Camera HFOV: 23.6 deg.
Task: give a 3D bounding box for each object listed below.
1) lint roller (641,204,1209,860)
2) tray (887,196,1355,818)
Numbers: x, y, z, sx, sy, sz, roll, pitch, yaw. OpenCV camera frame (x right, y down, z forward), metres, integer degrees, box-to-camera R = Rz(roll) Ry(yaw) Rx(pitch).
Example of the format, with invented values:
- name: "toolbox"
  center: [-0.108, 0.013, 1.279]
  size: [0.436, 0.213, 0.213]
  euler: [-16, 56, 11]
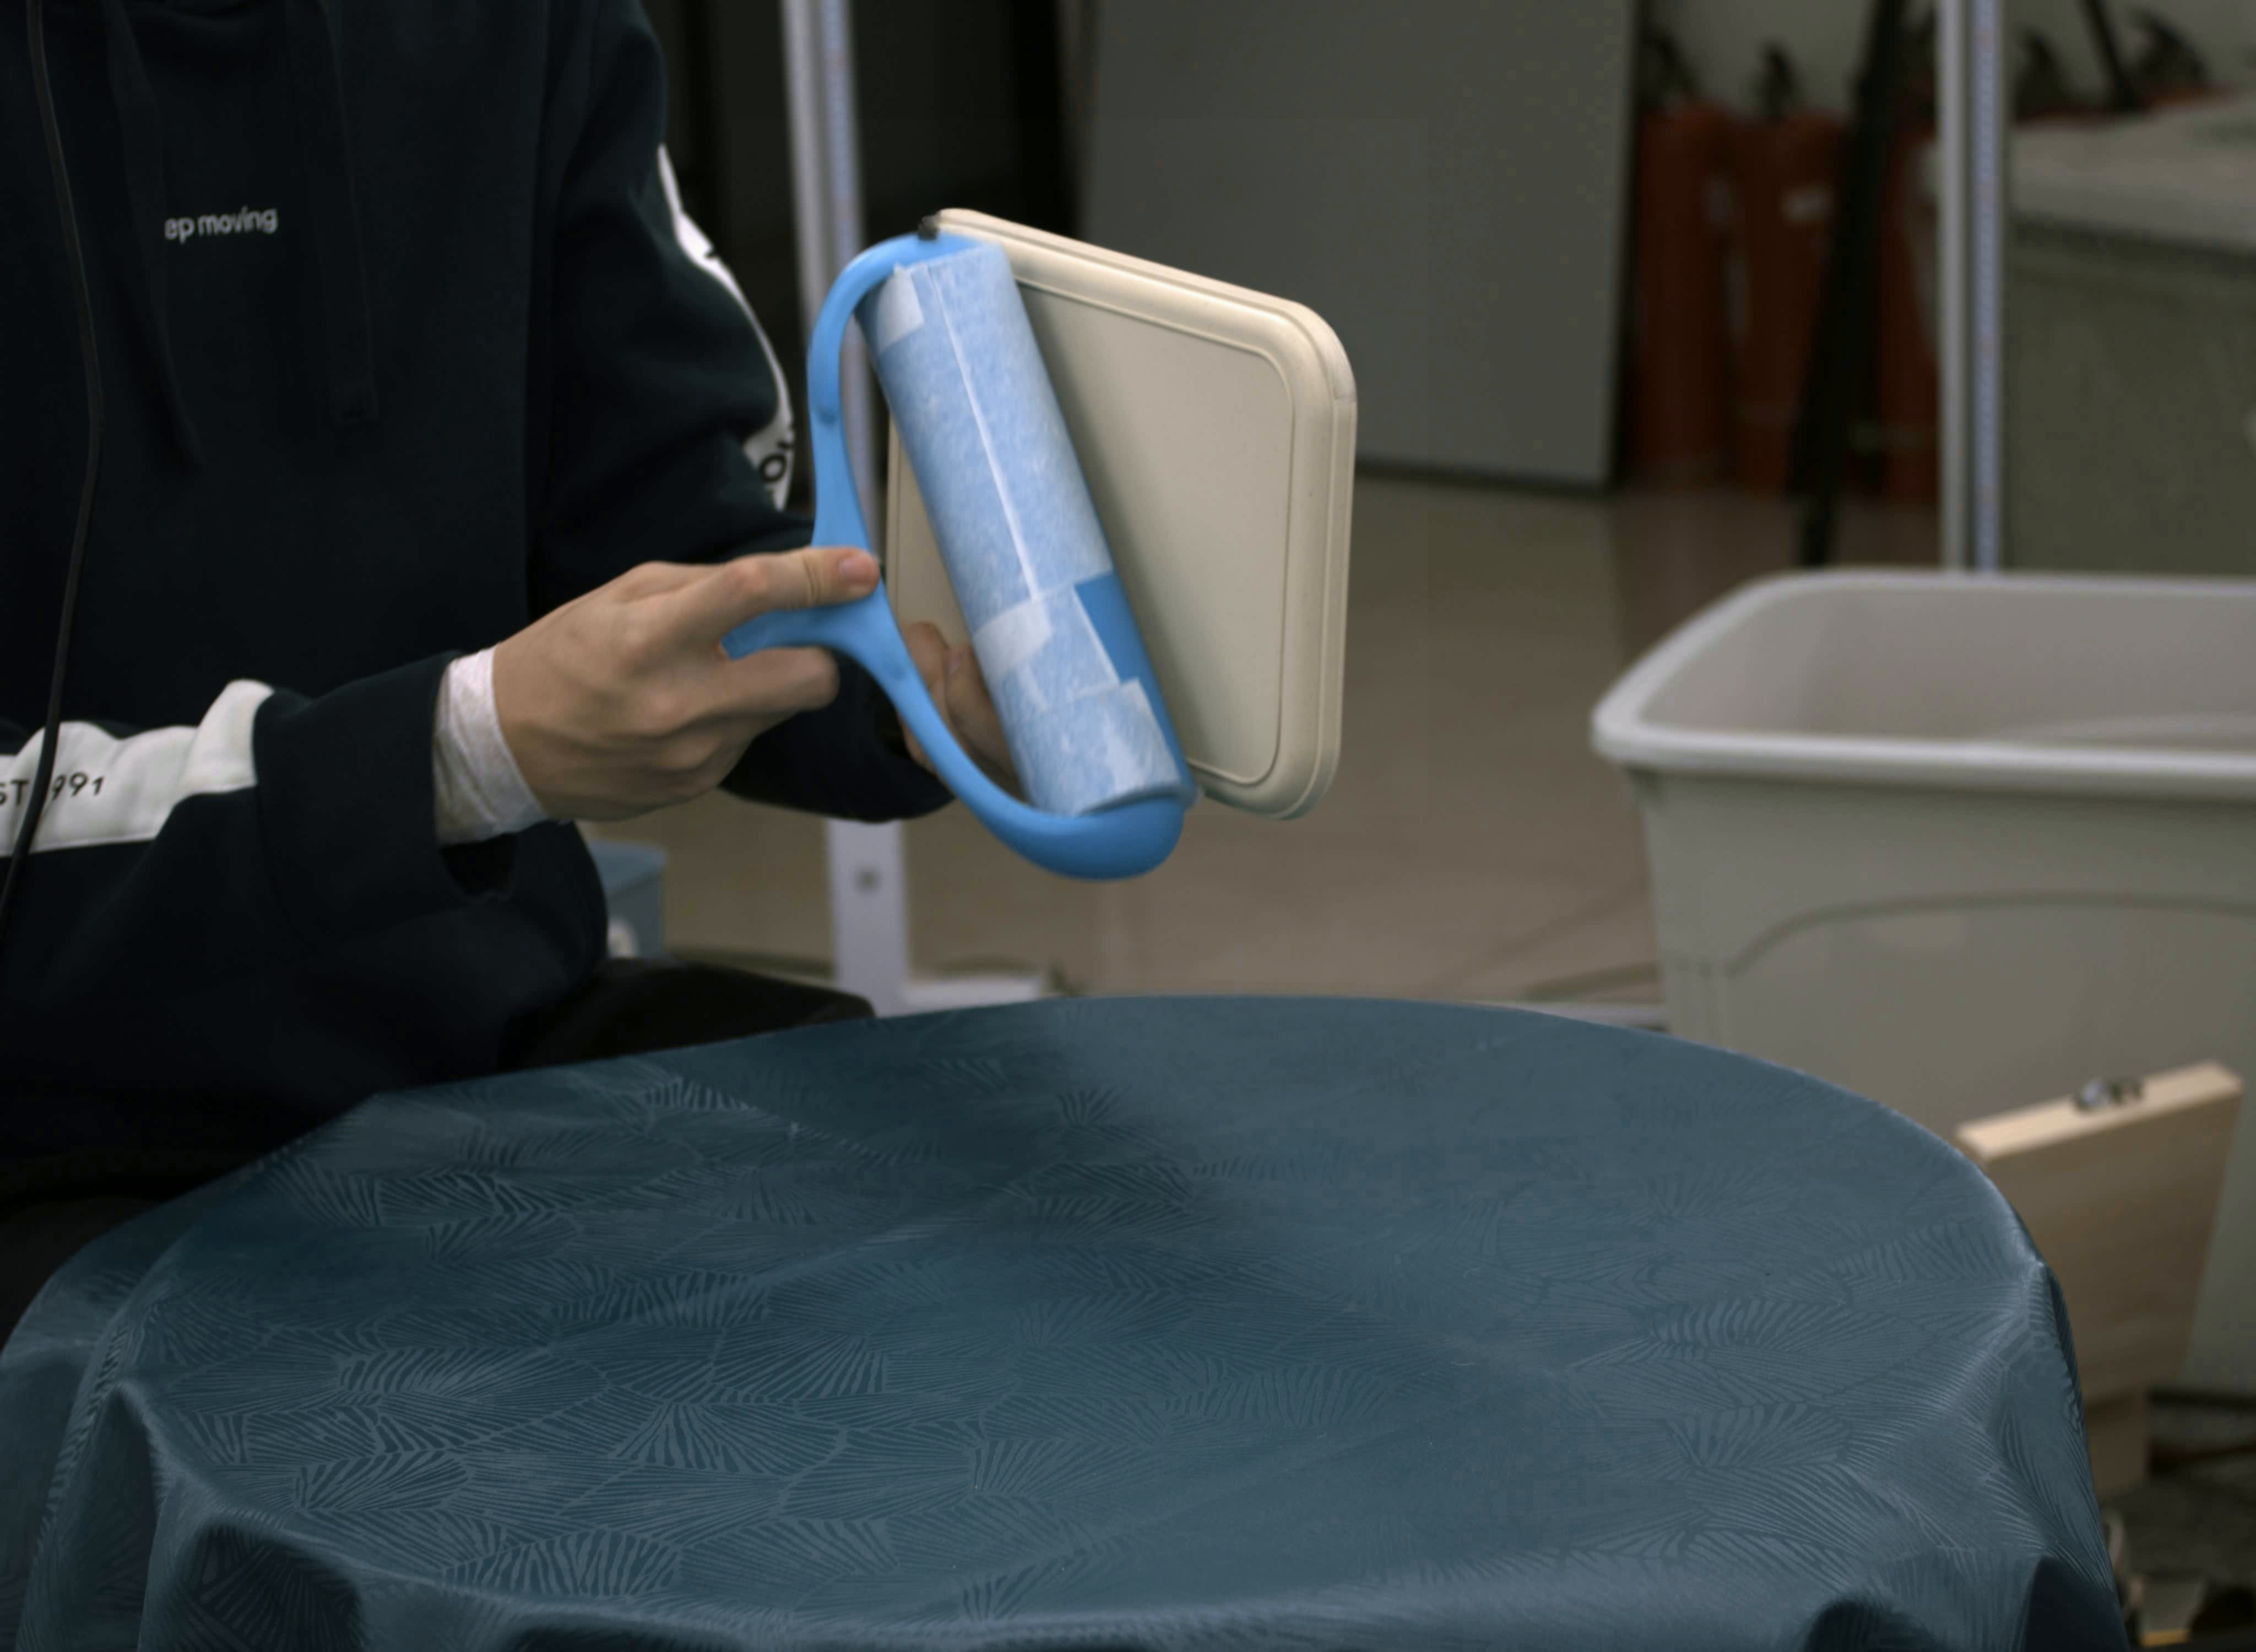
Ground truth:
- name: "lint roller"
  center: [-0.084, -0.071, 1.754]
  size: [0.179, 0.232, 0.067]
  euler: [-25, -15, 9]
- name: "tray"
  center: [-0.009, -0.106, 1.770]
  size: [0.017, 0.173, 0.242]
  euler: [-9, 19, -36]
